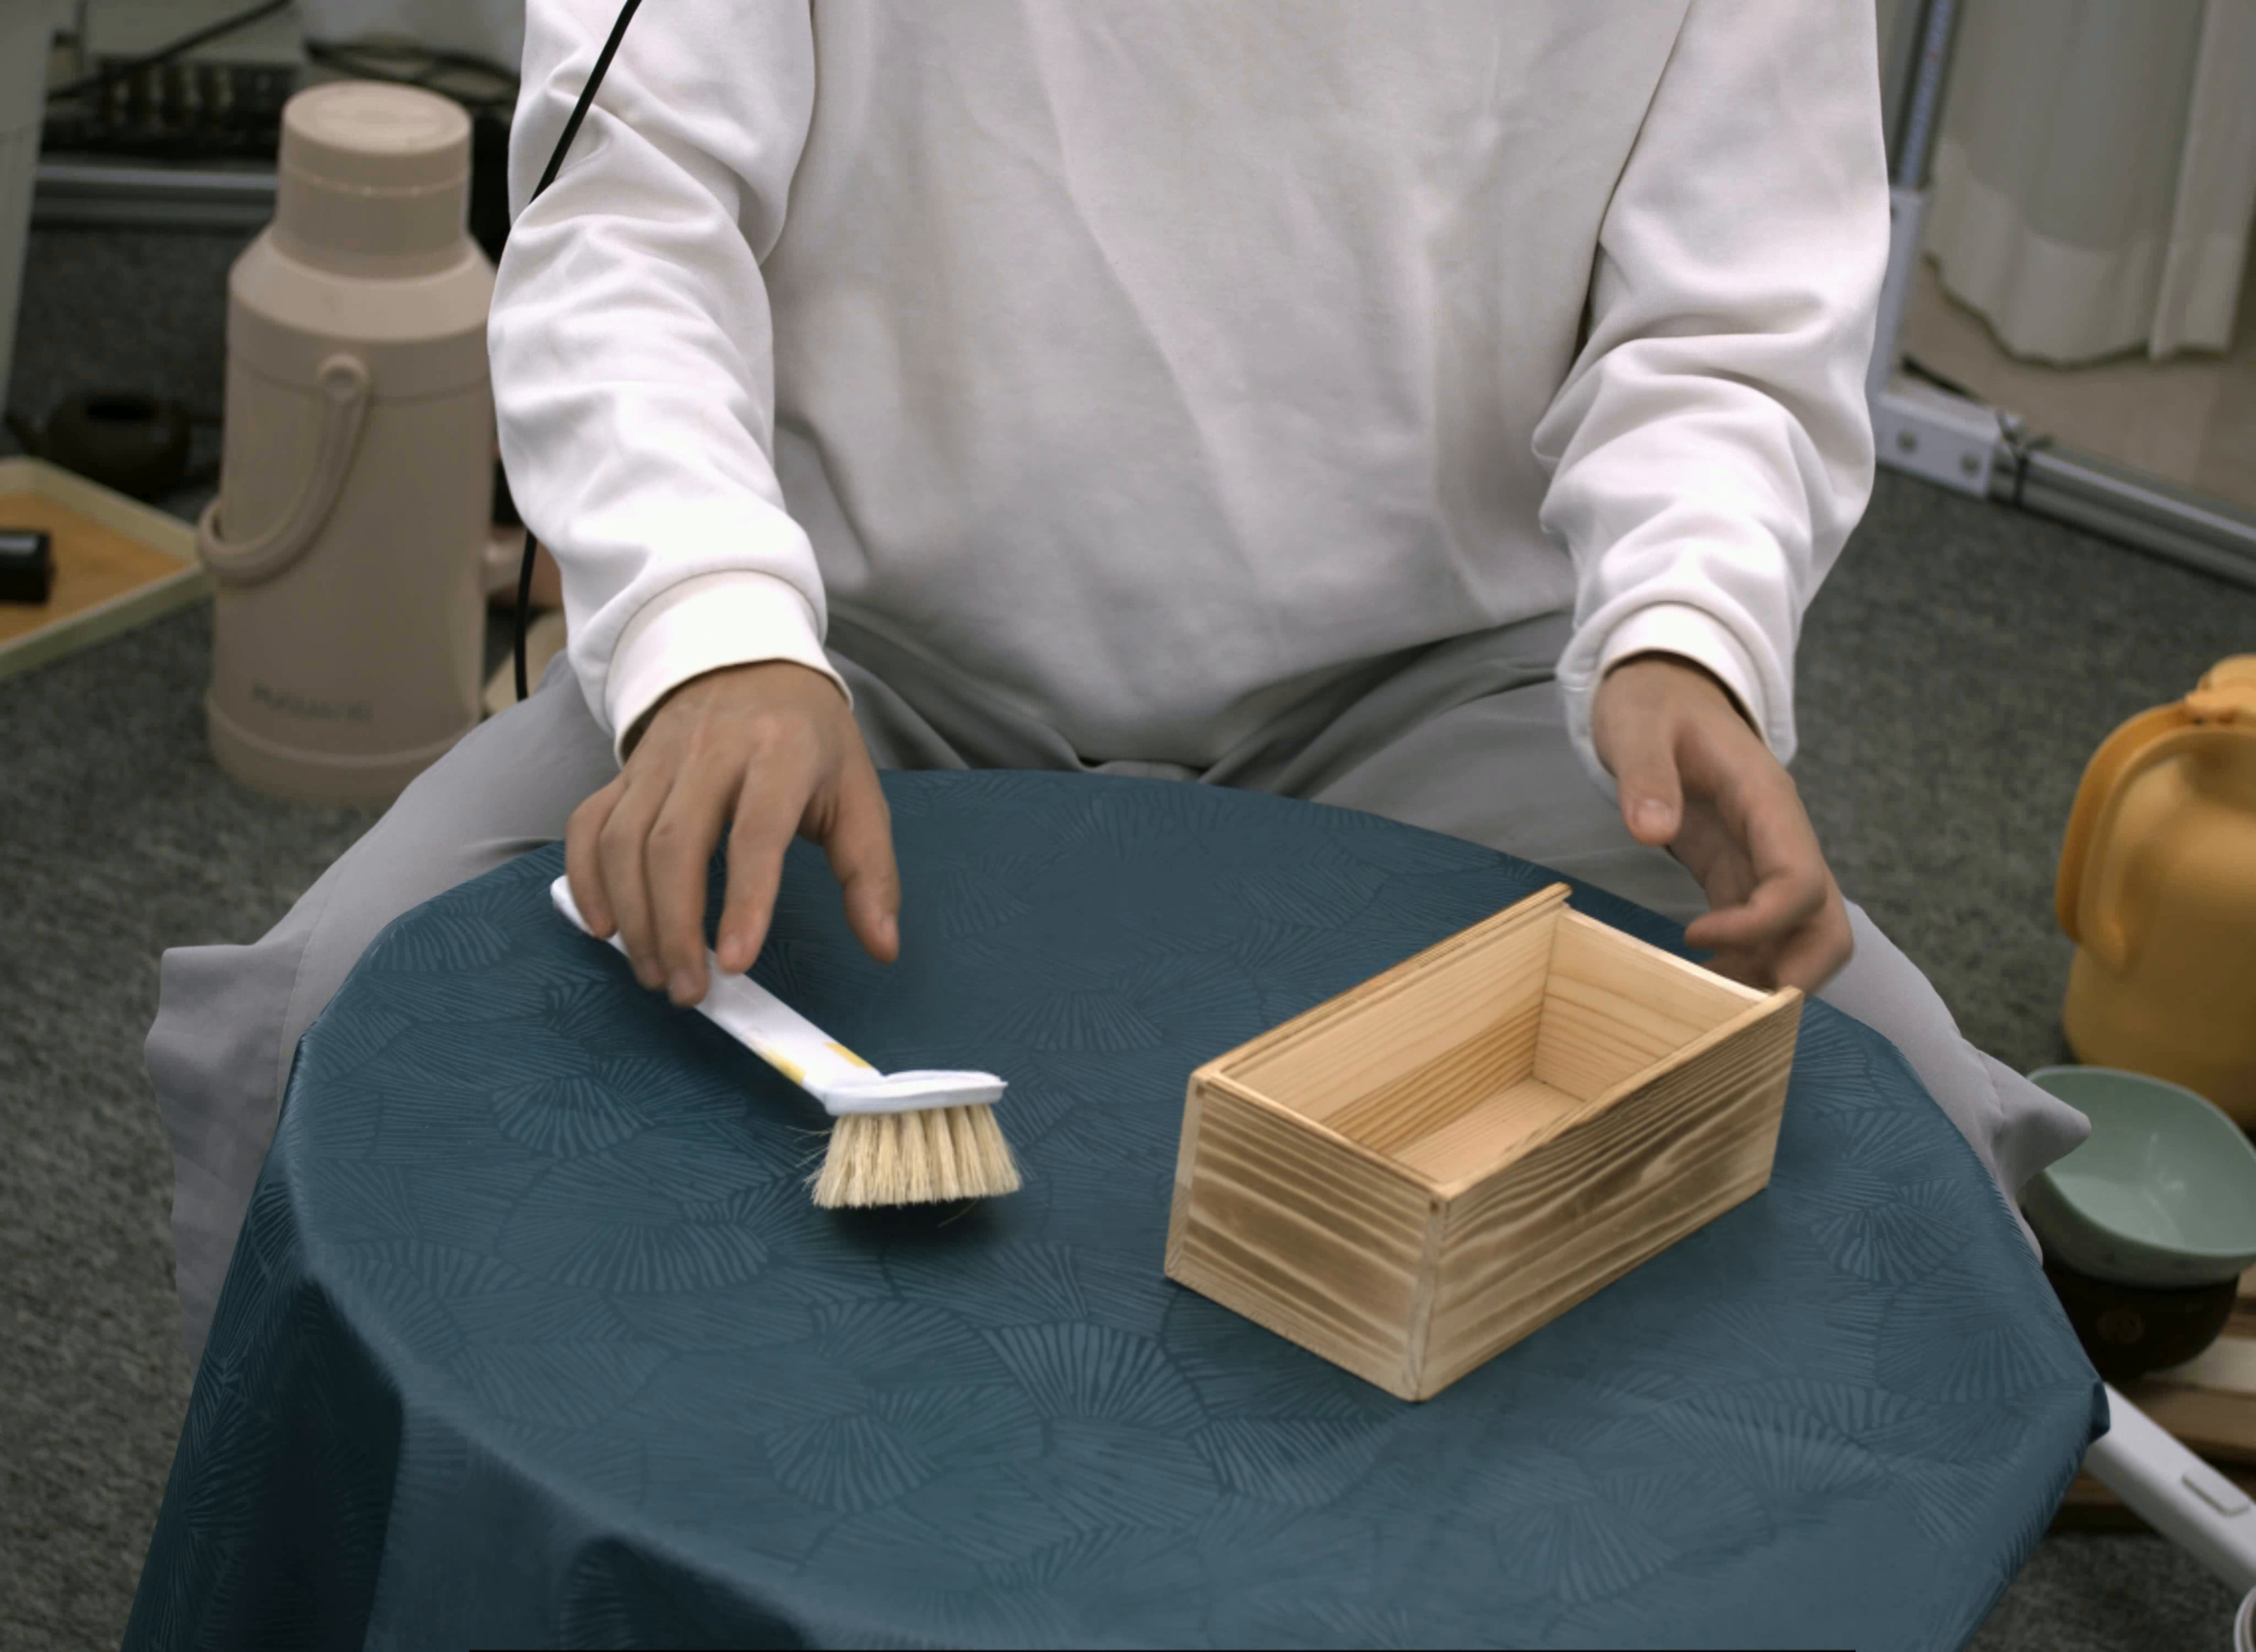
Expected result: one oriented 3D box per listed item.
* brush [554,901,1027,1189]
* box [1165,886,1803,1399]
[{"bbox_3d":[-0.125,0.079,1.847,0.068,0.056,0.268,8,6,-39],"label":"brush"},{"bbox_3d":[0.121,0.102,1.789,0.108,0.080,0.210,24,31,32],"label":"box"}]
